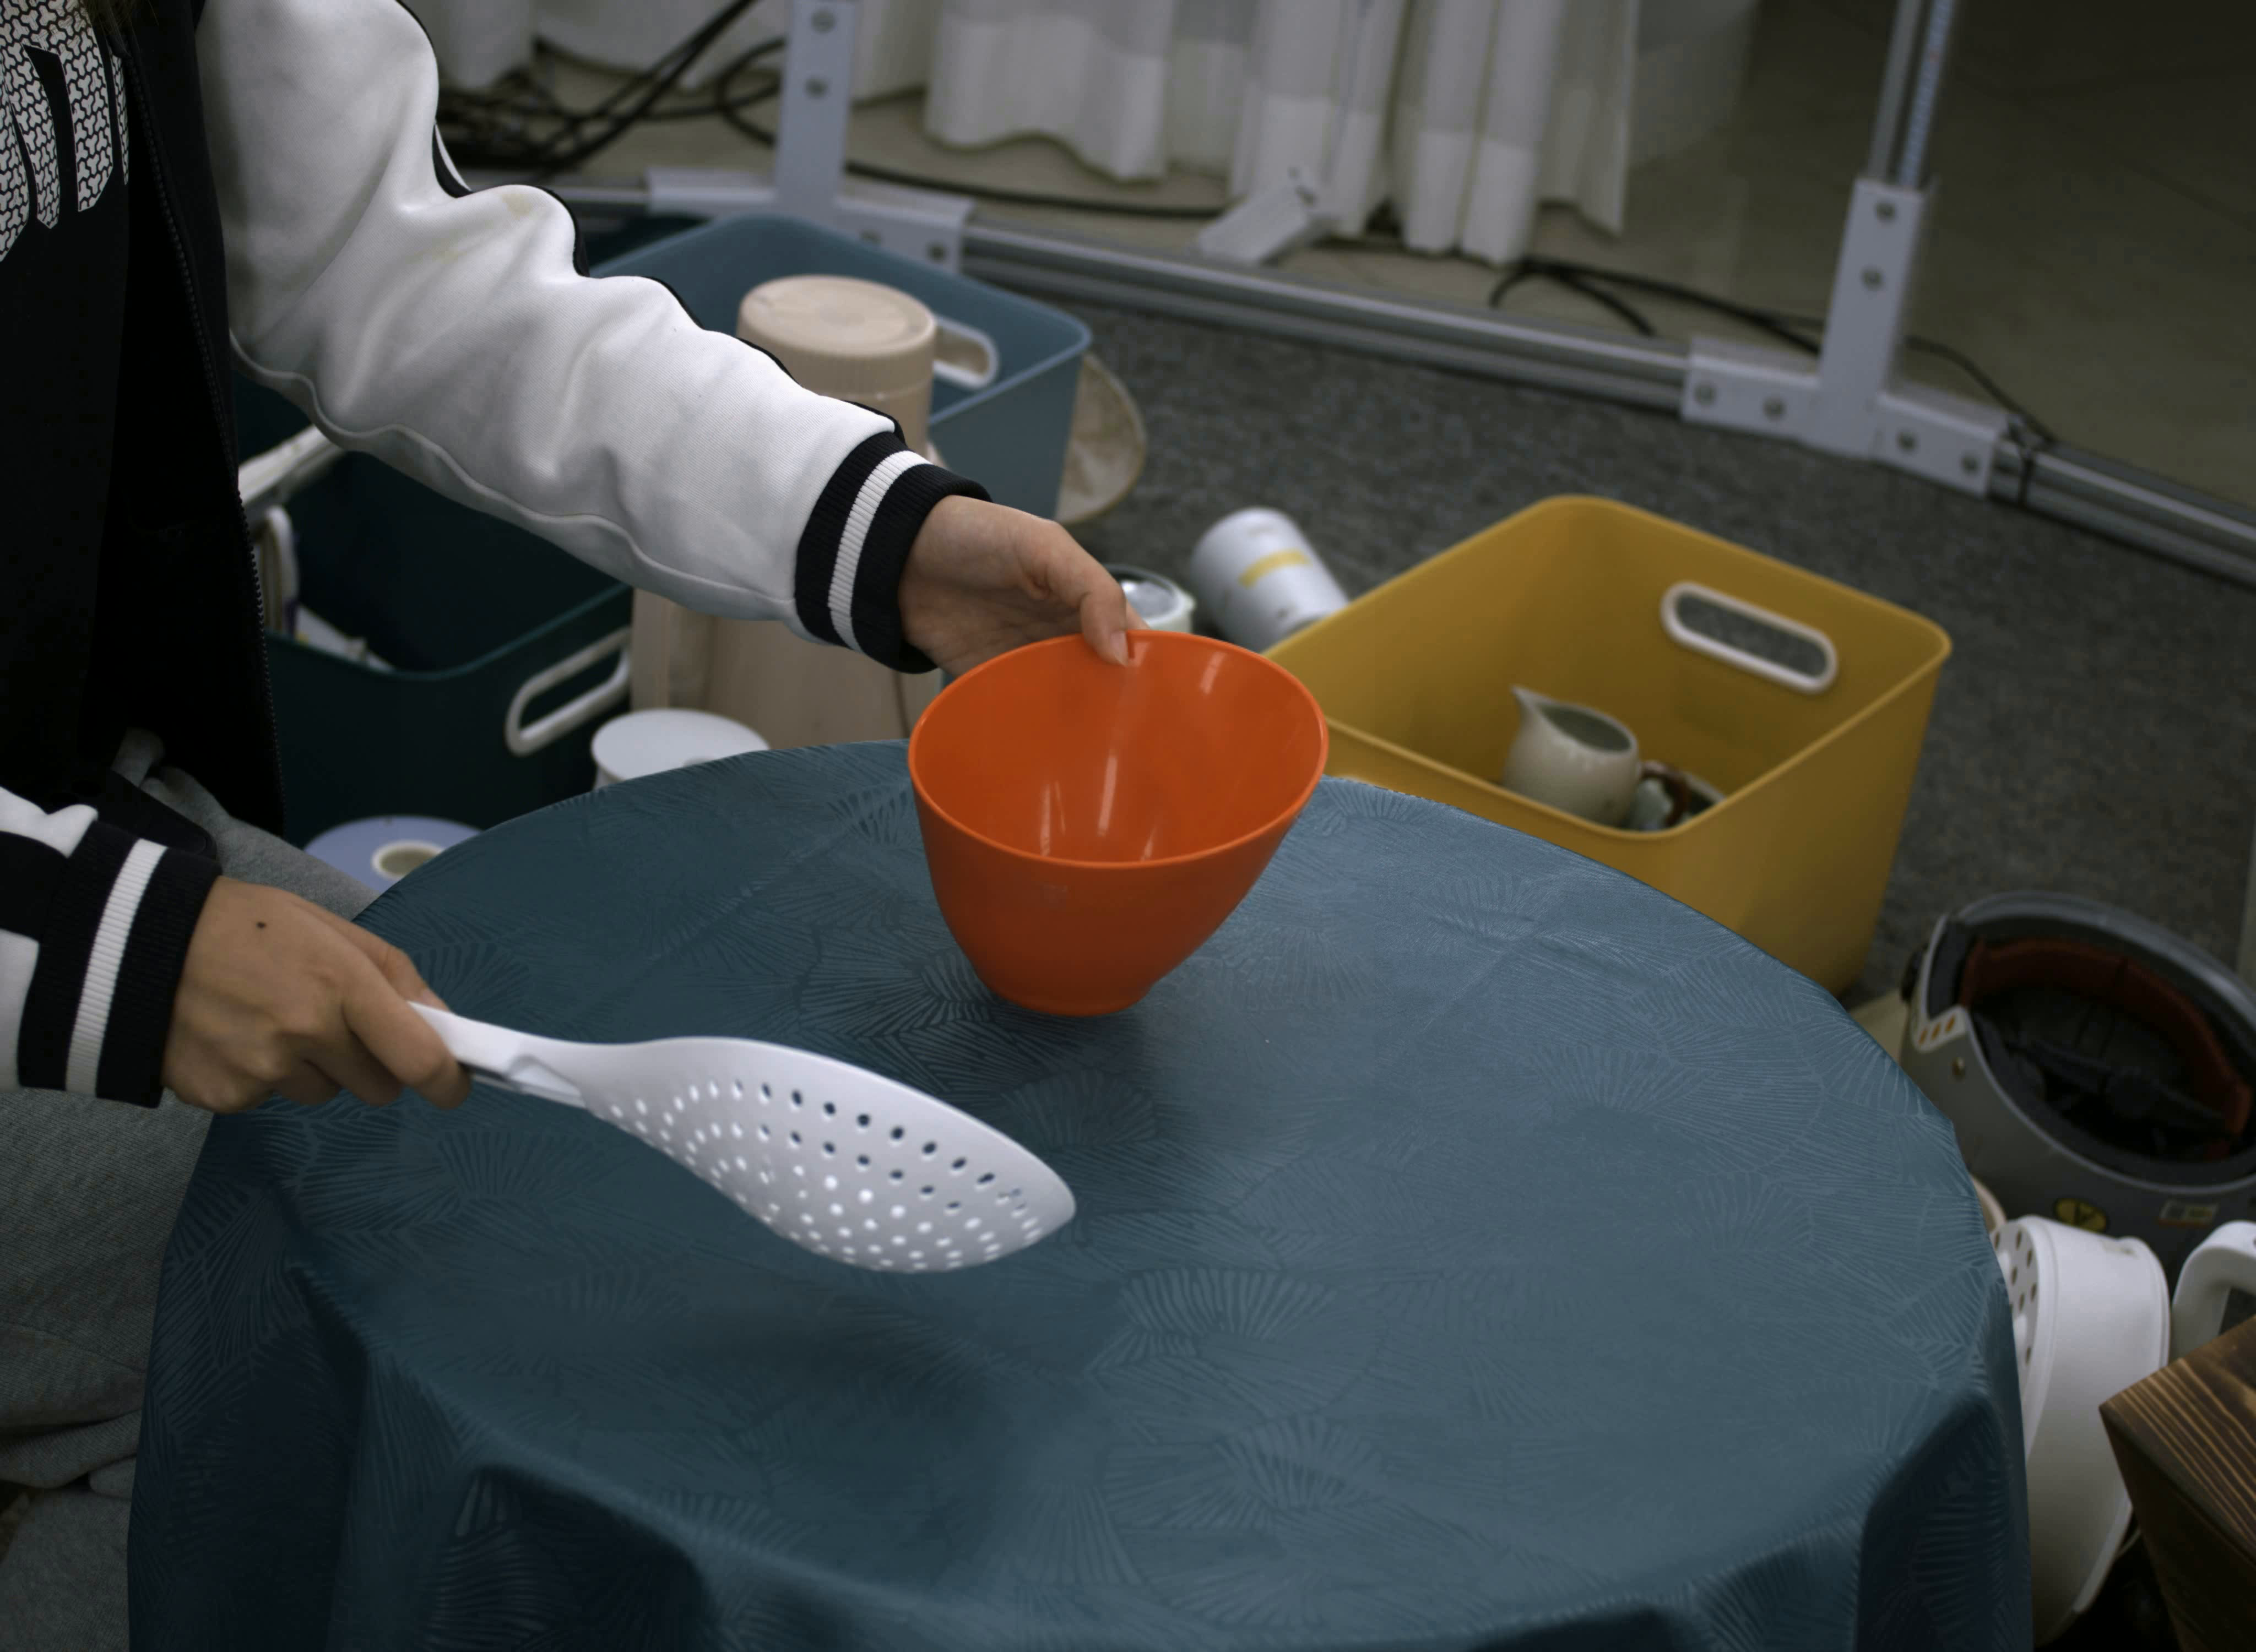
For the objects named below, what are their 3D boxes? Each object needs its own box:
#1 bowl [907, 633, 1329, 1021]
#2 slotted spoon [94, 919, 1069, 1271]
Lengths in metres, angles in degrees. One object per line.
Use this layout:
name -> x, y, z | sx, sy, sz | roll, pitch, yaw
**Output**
bowl -> -0.007, 0.007, 1.894 | 0.147, 0.104, 0.149 | 5, 32, -4
slotted spoon -> -0.181, 0.078, 1.689 | 0.351, 0.135, 0.046 | 18, 71, 25
